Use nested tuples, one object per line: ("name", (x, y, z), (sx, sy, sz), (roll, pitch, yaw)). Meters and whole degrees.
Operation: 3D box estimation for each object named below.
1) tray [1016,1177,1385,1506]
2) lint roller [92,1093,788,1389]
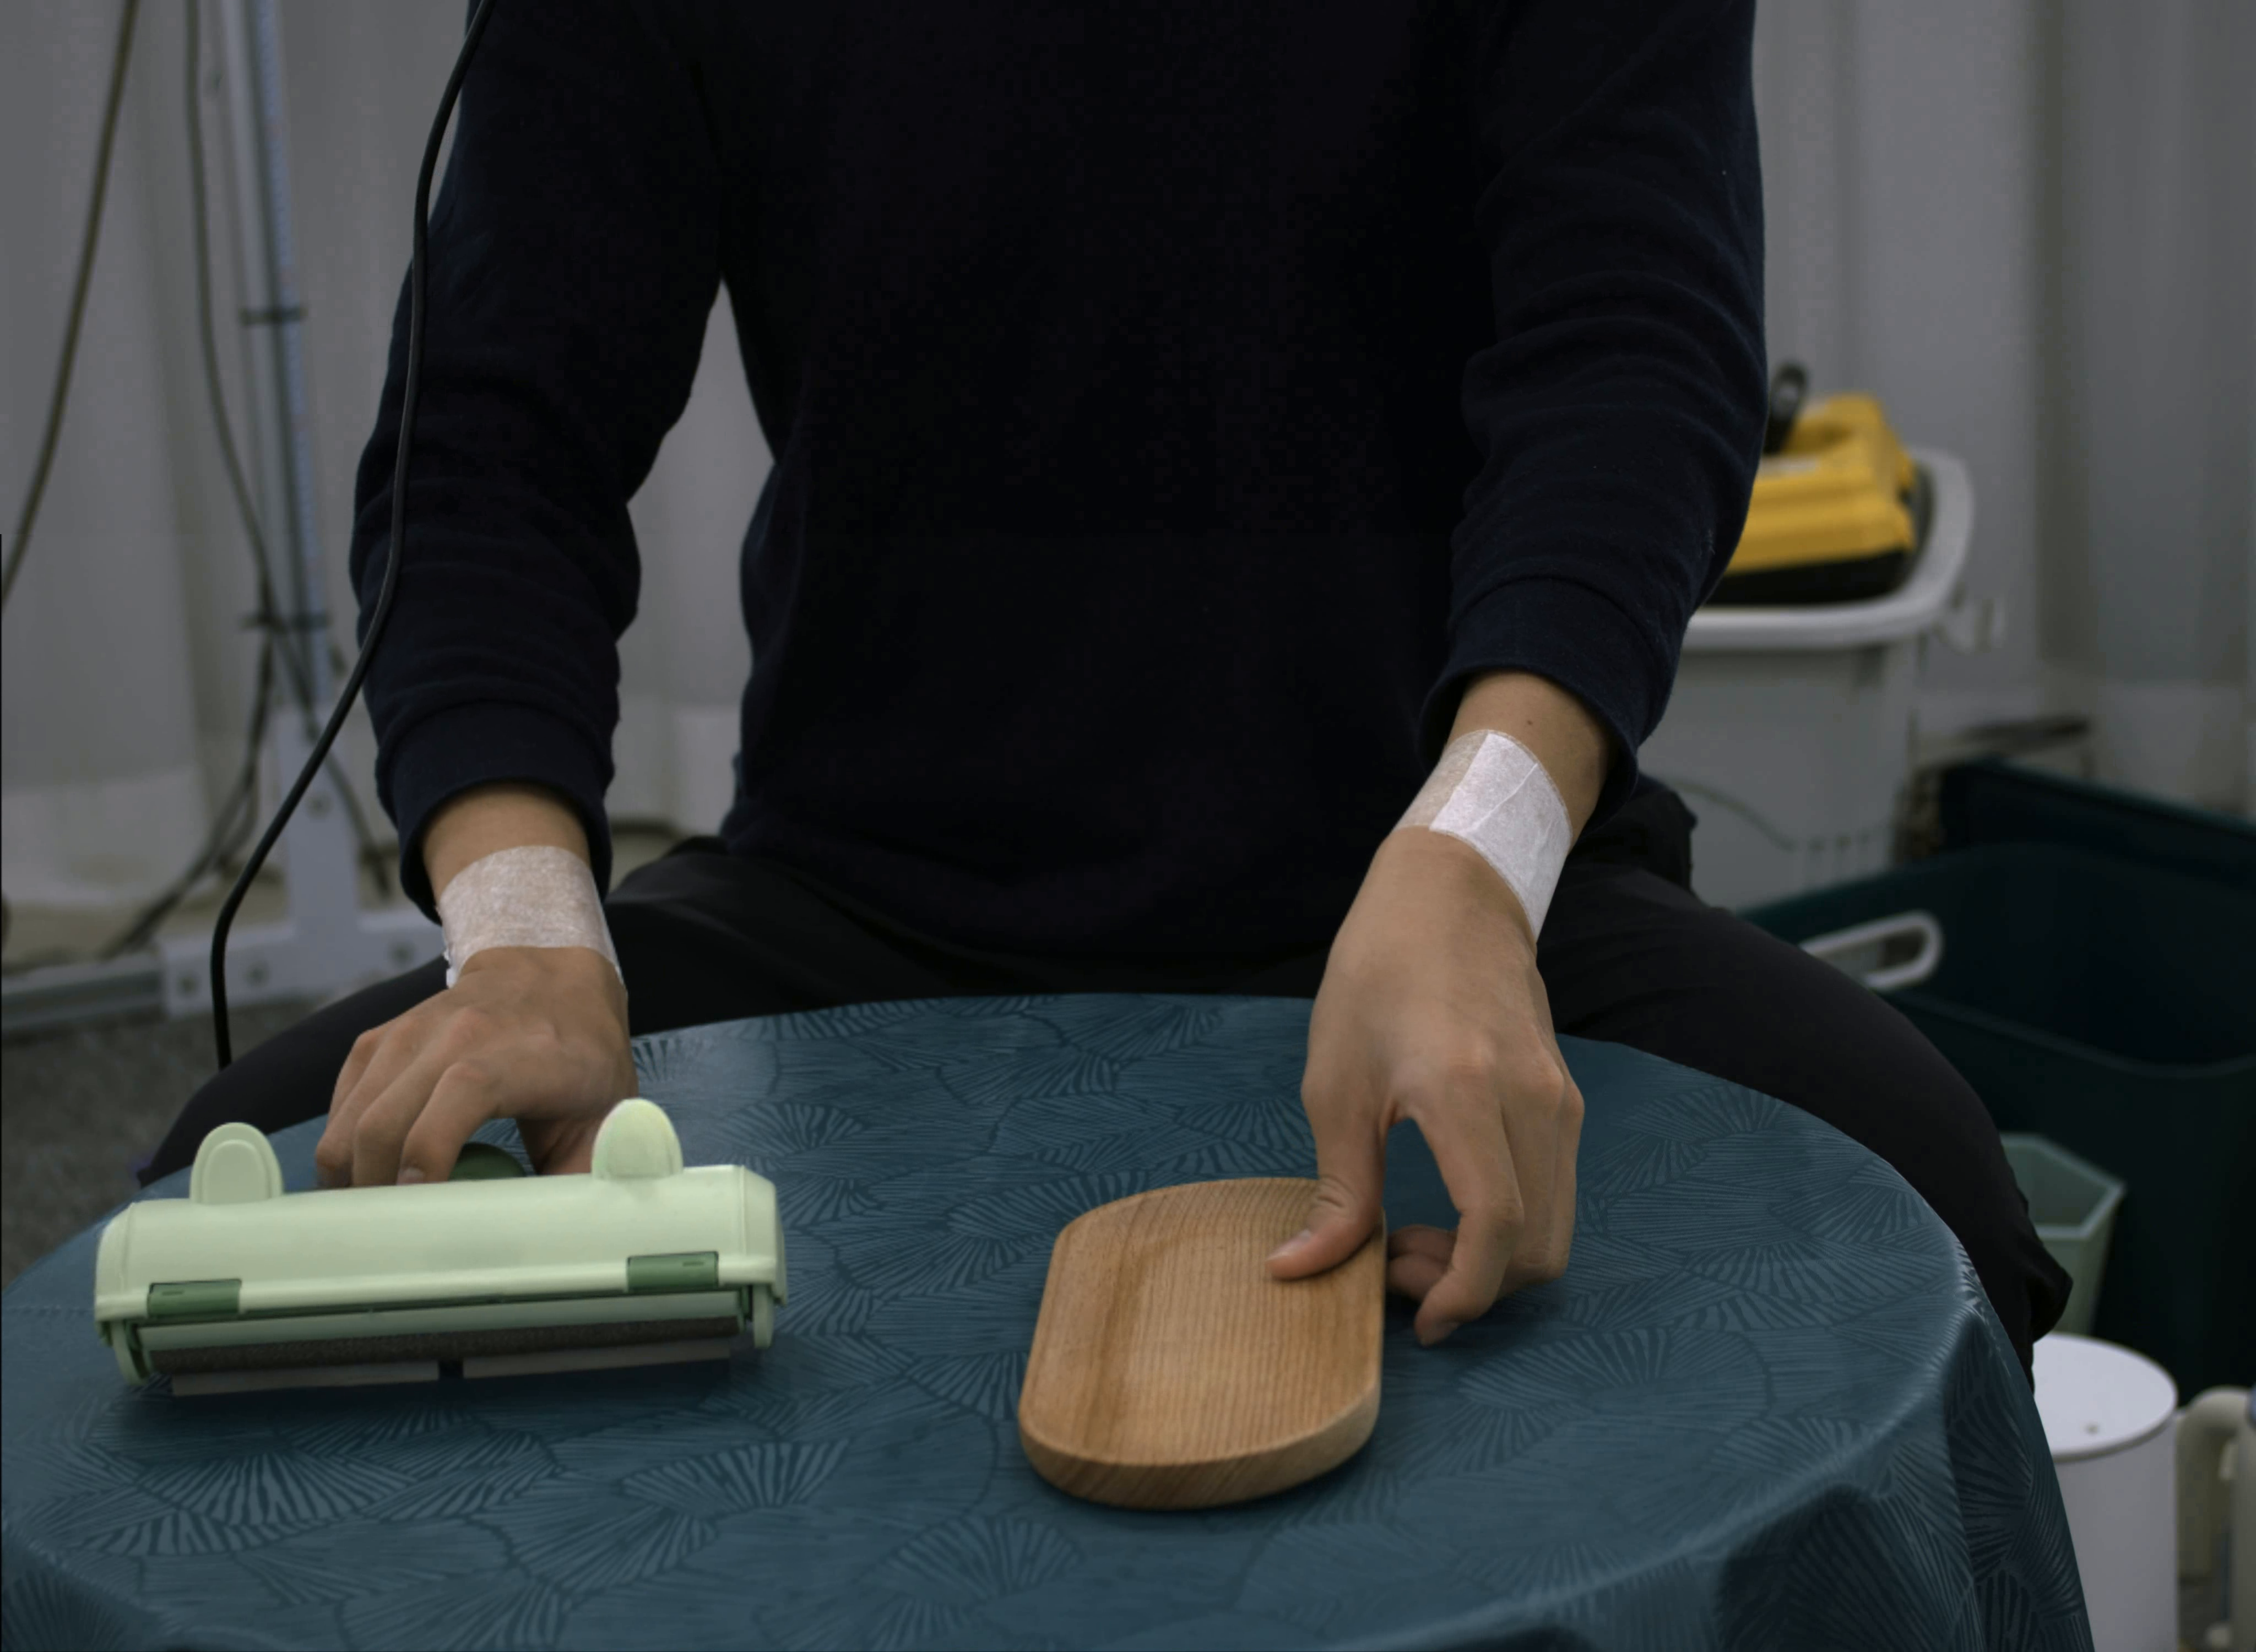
("tray", (0.023, 0.145, 1.564), (0.101, 0.020, 0.232), (-4, 14, 4))
("lint roller", (-0.202, 0.103, 1.631), (0.198, 0.081, 0.185), (-3, 20, -3))
